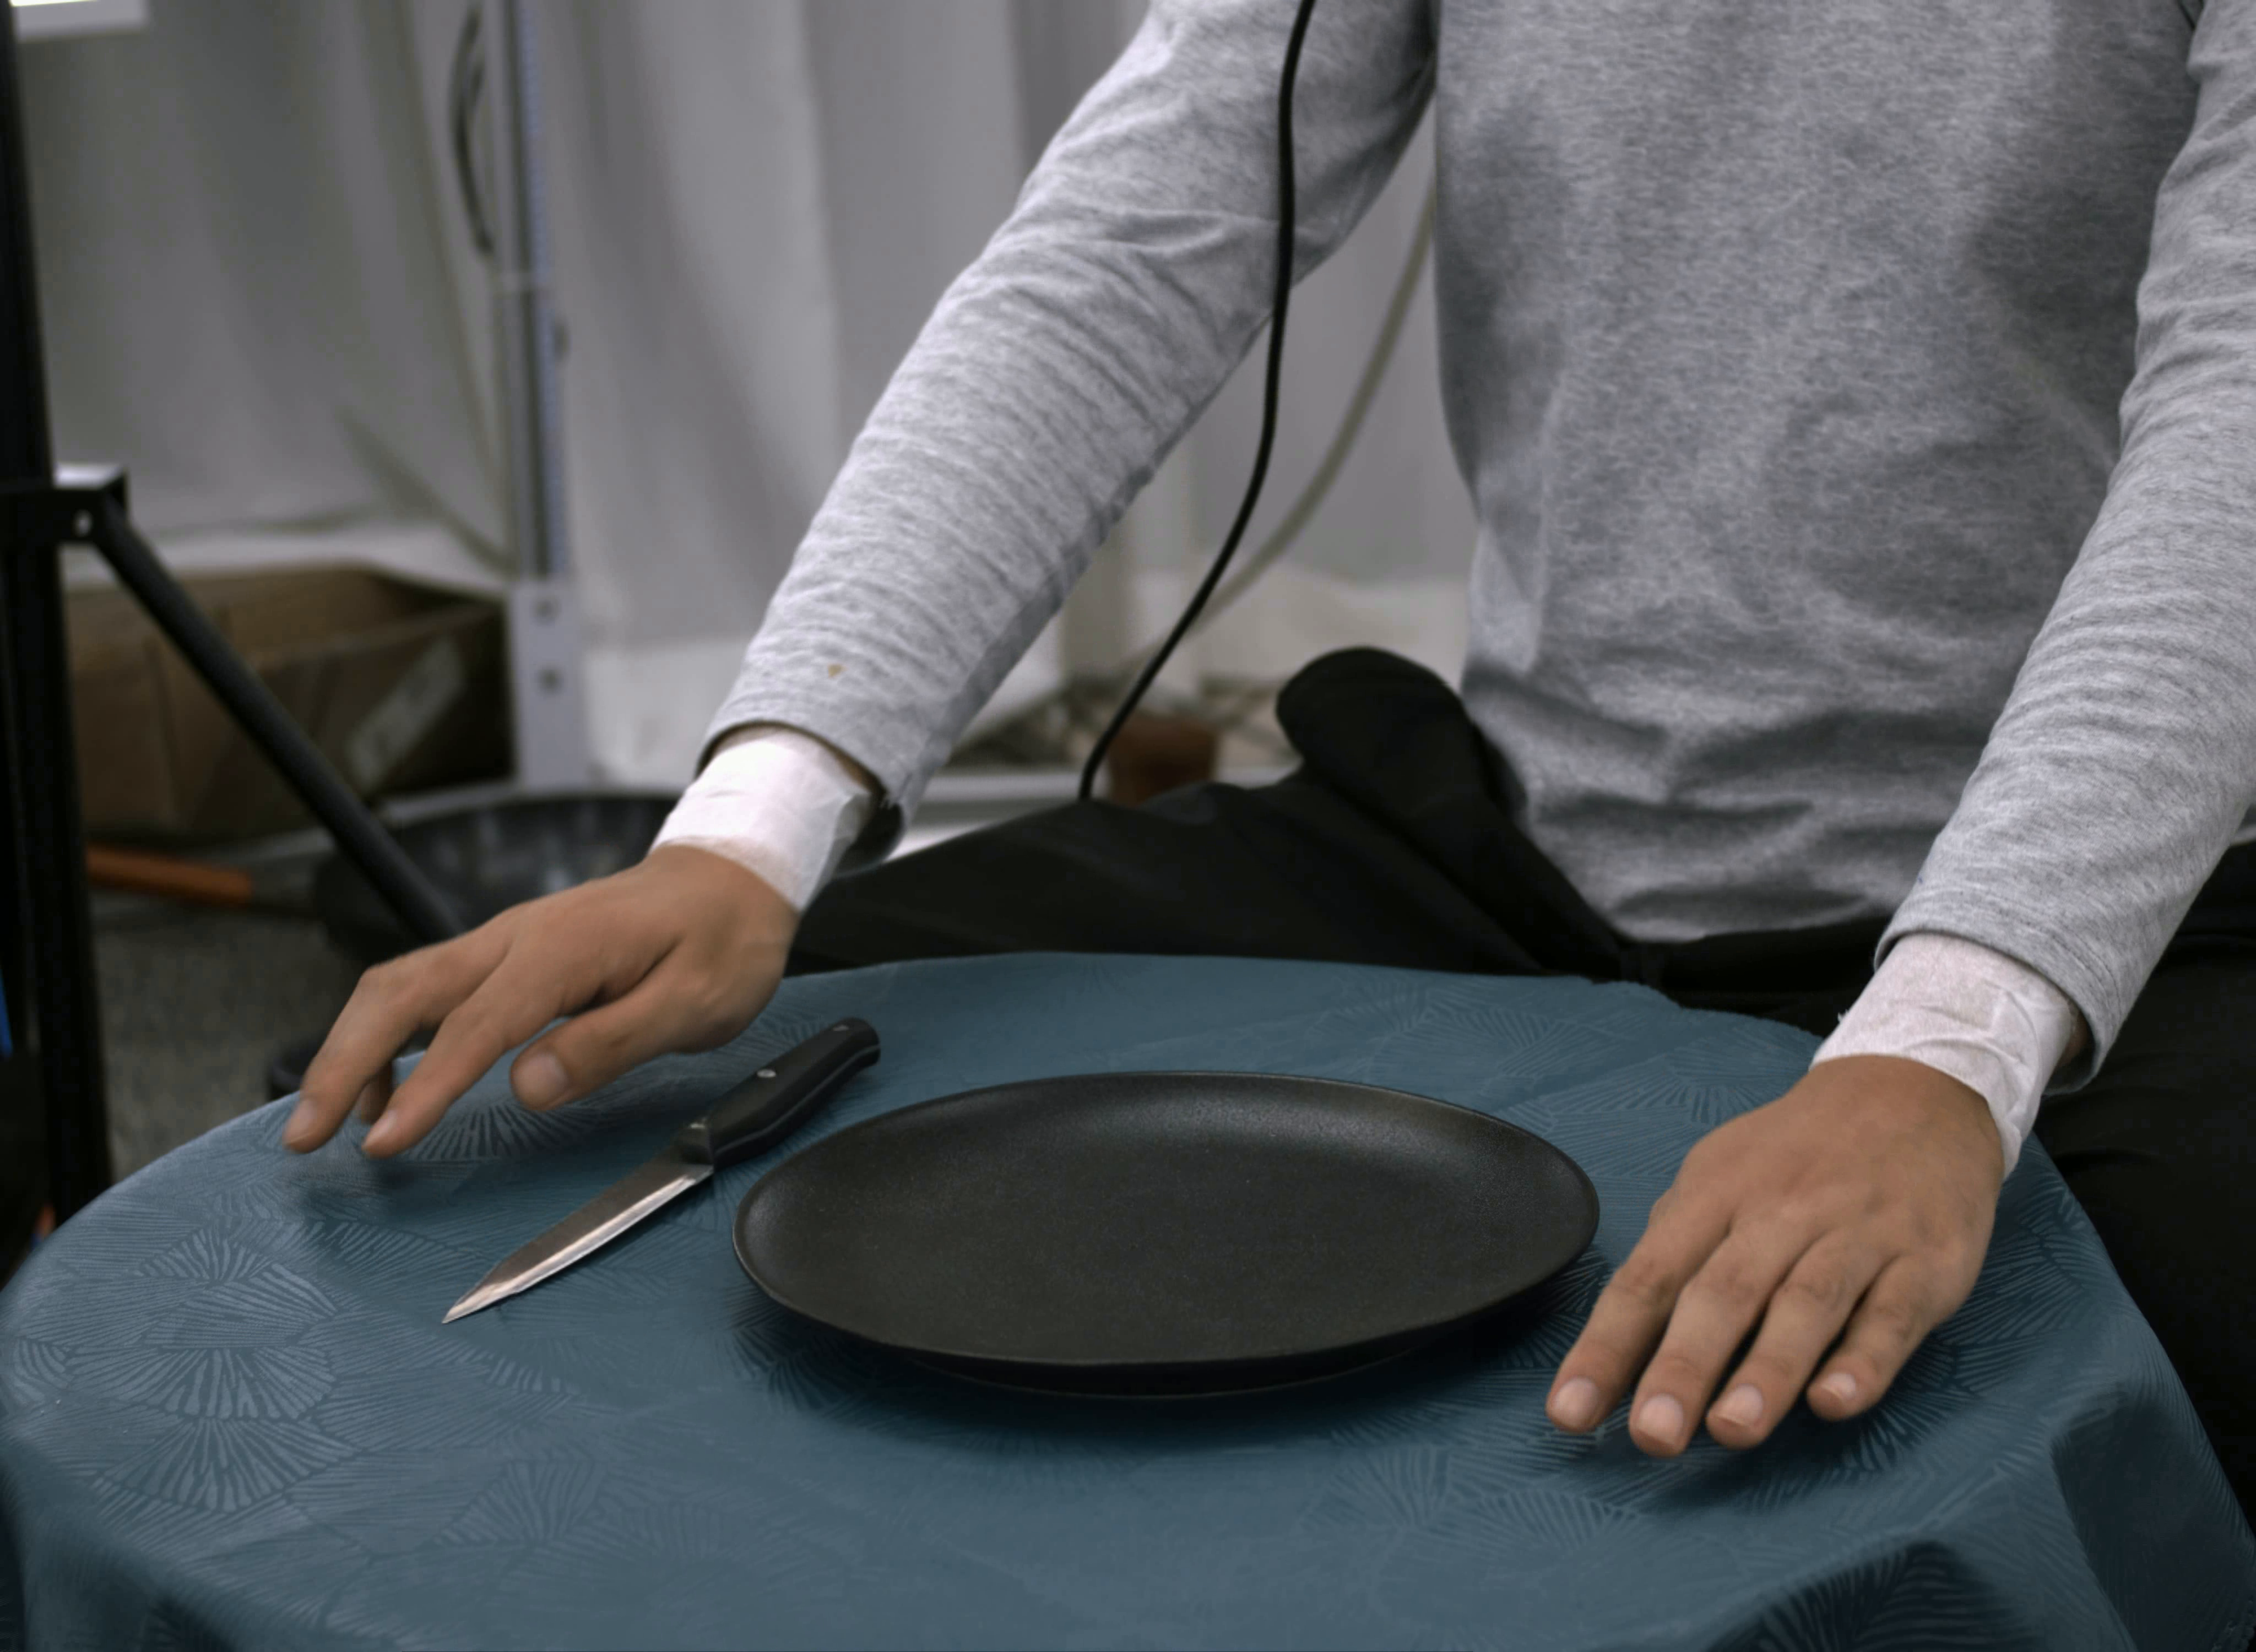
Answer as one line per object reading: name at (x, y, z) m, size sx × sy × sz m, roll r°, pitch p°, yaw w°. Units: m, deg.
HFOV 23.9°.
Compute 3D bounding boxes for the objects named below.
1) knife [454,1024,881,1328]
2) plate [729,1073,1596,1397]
knife at (-0.137, 0.103, 1.580) m, size 0.025 × 0.016 × 0.234 m, roll 6°, pitch 21°, yaw 26°
plate at (0.010, 0.117, 1.488) m, size 0.243 × 0.023 × 0.245 m, roll -3°, pitch 16°, yaw -1°
